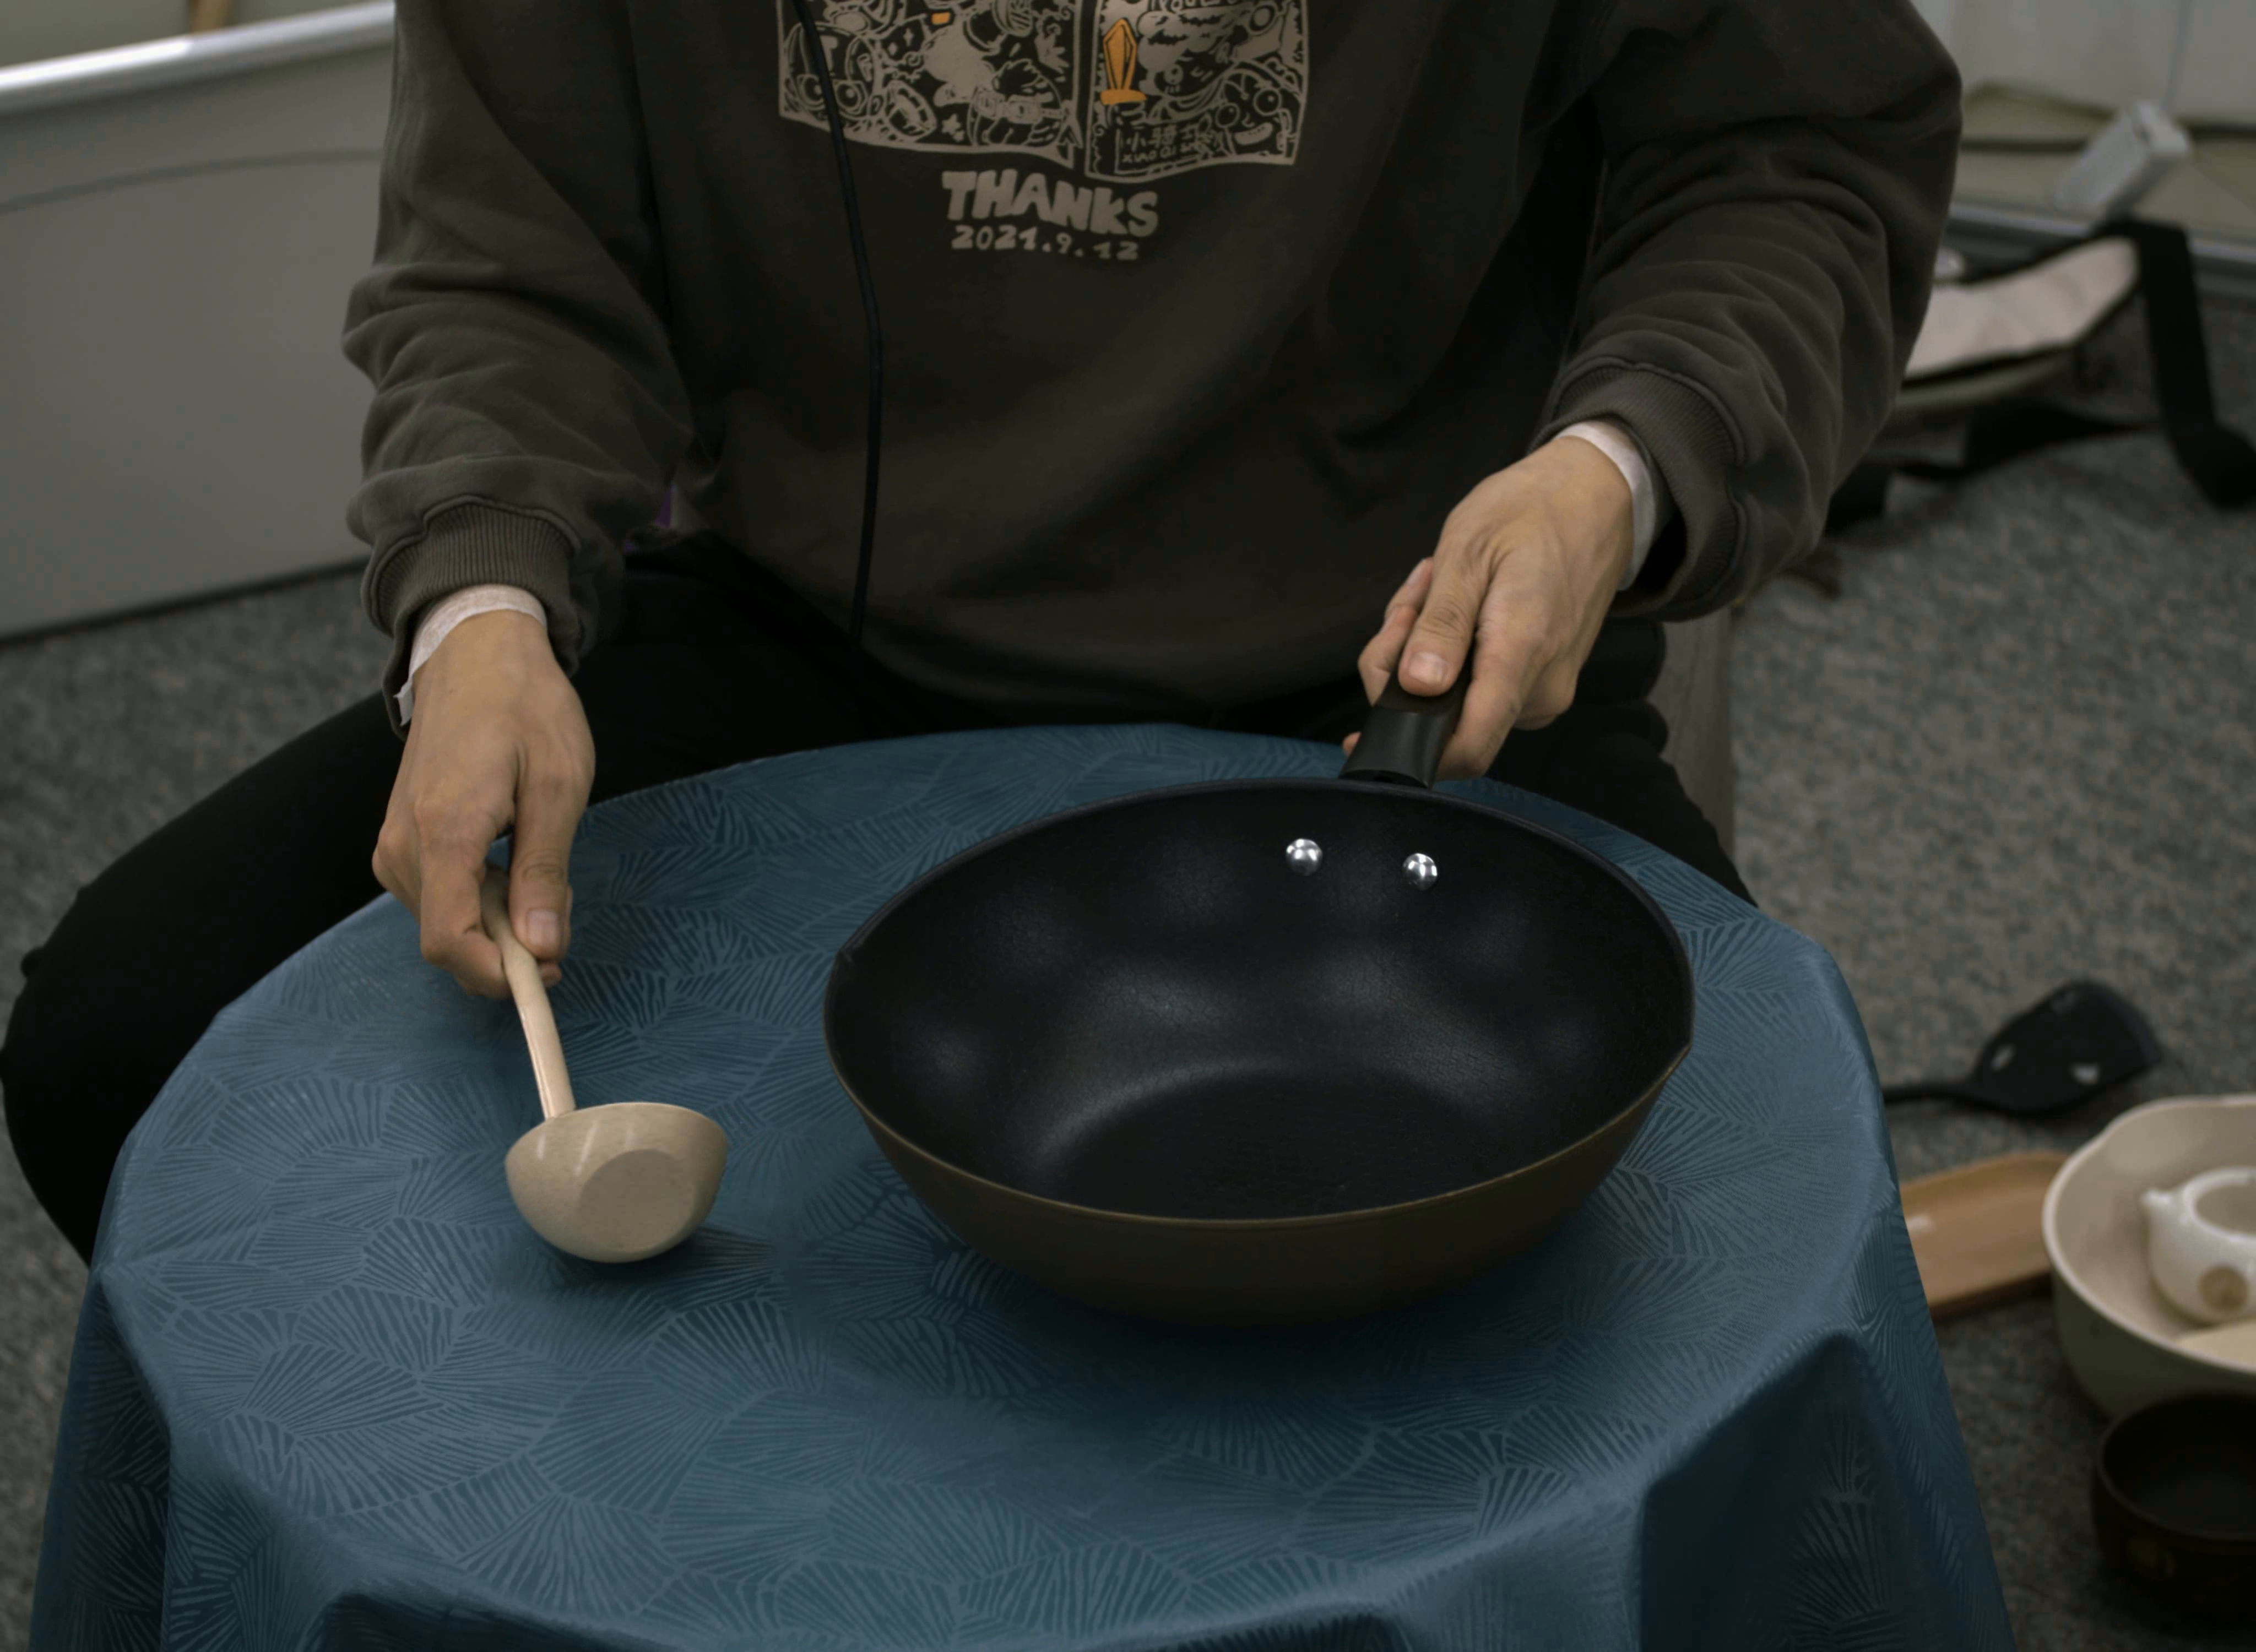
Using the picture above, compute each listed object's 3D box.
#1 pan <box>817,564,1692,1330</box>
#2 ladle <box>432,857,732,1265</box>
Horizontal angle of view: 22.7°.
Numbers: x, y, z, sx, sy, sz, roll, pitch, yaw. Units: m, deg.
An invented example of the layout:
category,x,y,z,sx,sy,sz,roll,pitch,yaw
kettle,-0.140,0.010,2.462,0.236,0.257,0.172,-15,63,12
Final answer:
category,x,y,z,sx,sy,sz,roll,pitch,yaw
pan,0.070,0.042,1.909,0.286,0.086,0.471,6,29,16
ladle,-0.195,0.054,1.902,0.072,0.072,0.257,3,33,-24
